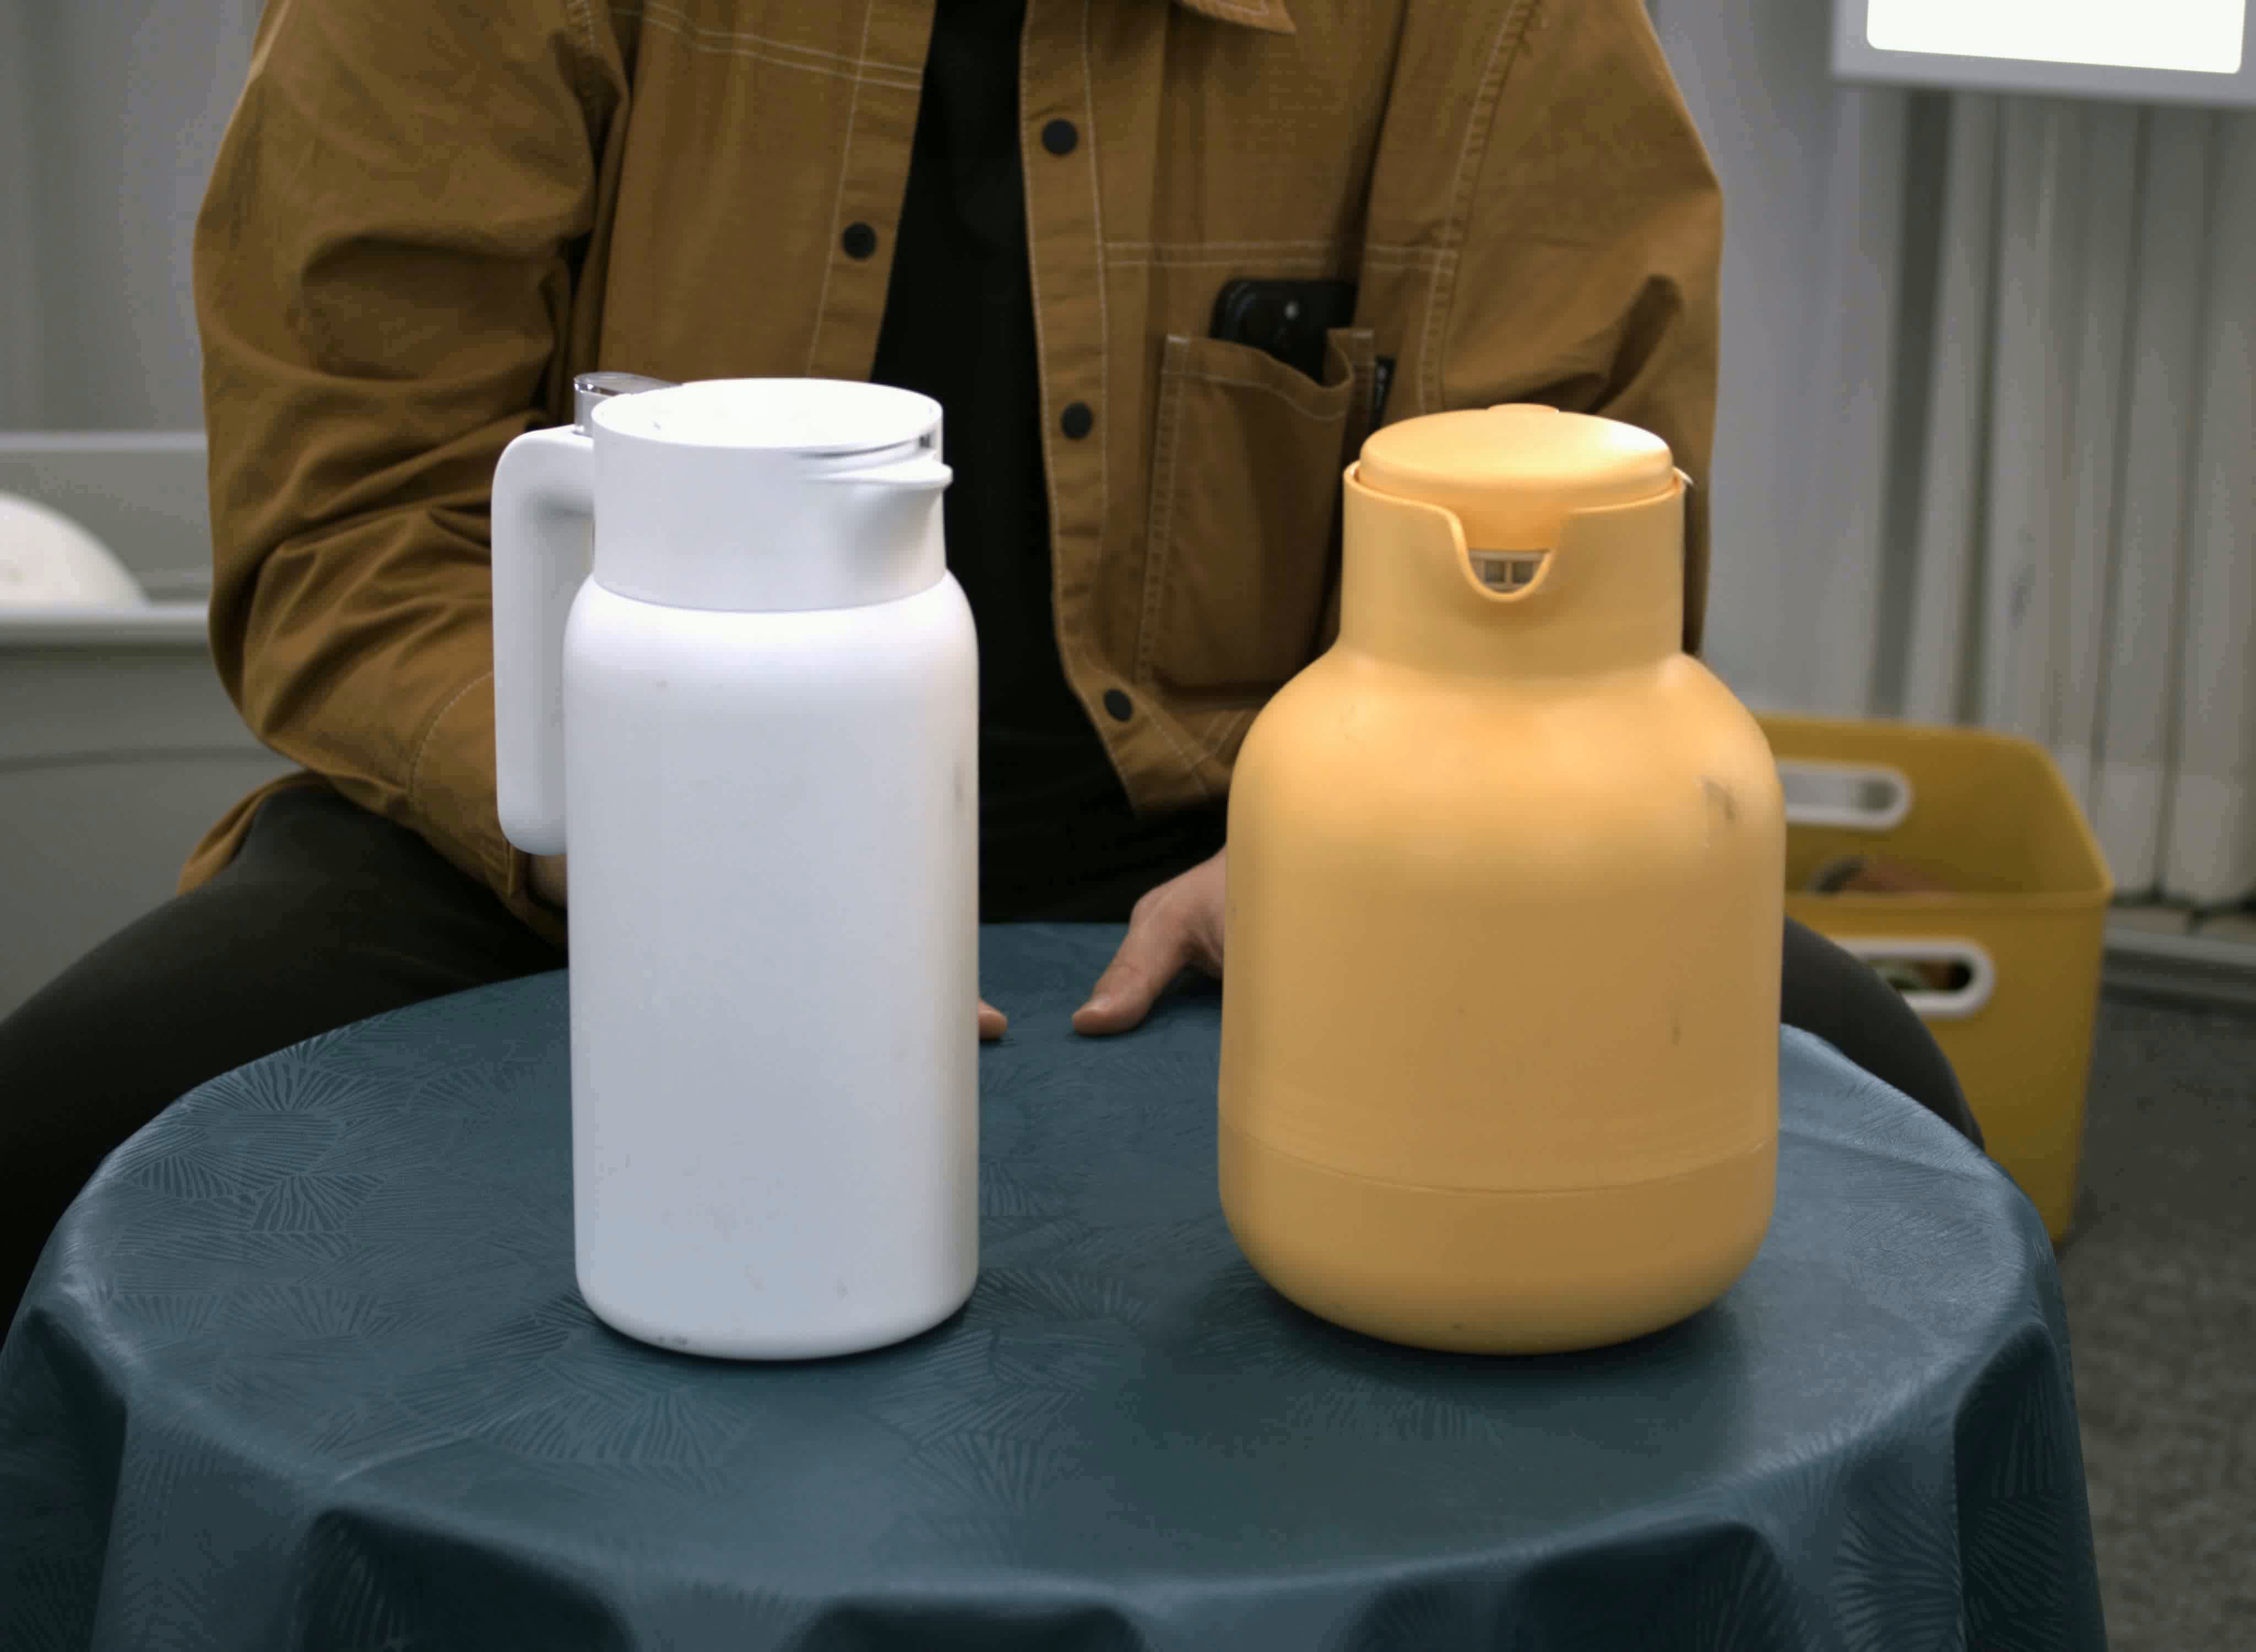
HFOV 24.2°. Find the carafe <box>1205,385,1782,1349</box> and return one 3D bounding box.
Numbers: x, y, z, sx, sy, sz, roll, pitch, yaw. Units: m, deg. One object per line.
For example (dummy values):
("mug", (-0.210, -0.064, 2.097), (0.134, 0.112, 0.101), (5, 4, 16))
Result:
("carafe", (0.110, 0.003, 1.523), (0.162, 0.262, 0.202), (5, 18, 7))

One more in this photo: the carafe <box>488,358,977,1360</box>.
("carafe", (-0.115, 0.006, 1.499), (0.170, 0.271, 0.124), (14, 23, 39))
